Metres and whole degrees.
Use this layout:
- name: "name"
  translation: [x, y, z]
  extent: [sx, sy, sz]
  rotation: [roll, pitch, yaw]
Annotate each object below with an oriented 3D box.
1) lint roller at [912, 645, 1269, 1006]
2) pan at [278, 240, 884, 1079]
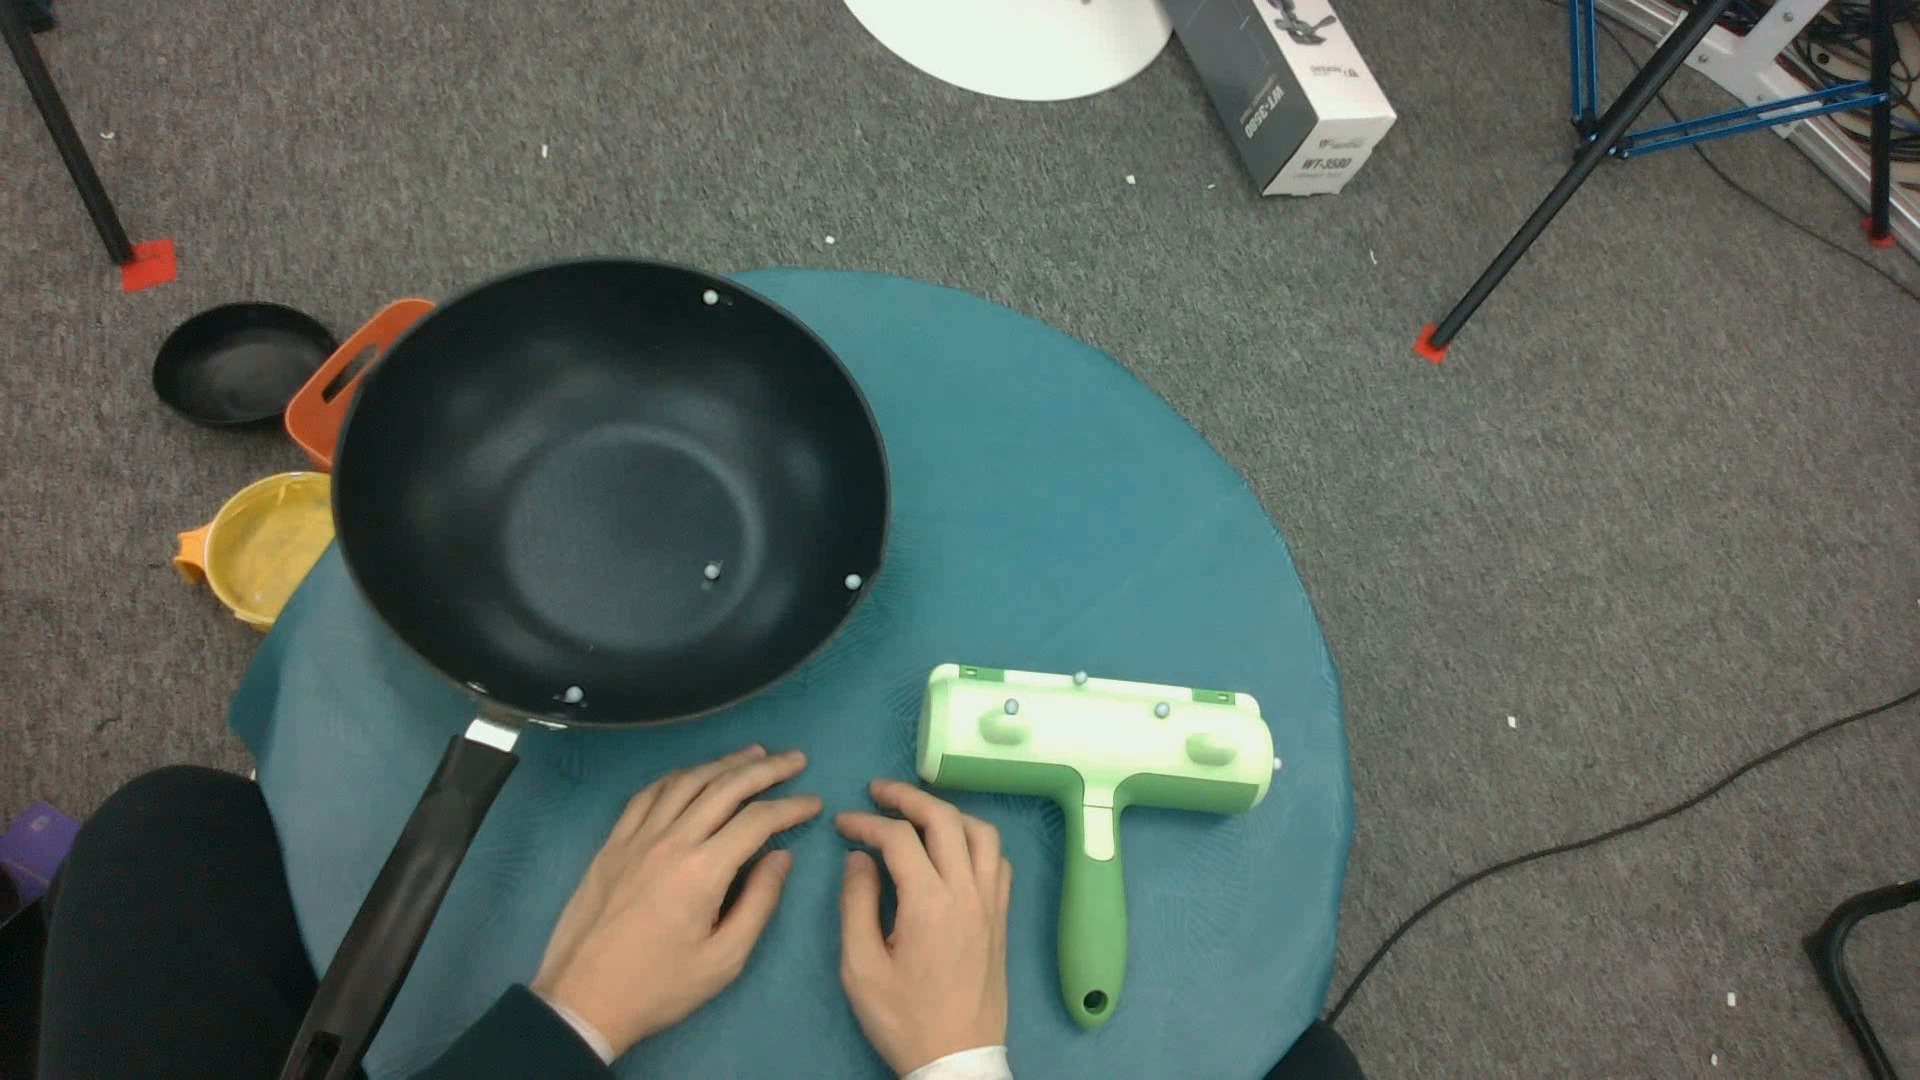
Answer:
- name: "lint roller"
  translation: [0.074, 0.147, 0.733]
  extent: [0.199, 0.082, 0.184]
  rotation: [6, 58, -10]
- name: "pan"
  translation: [-0.211, 0.052, 0.712]
  extent: [0.288, 0.086, 0.465]
  rotation: [19, 63, -2]
